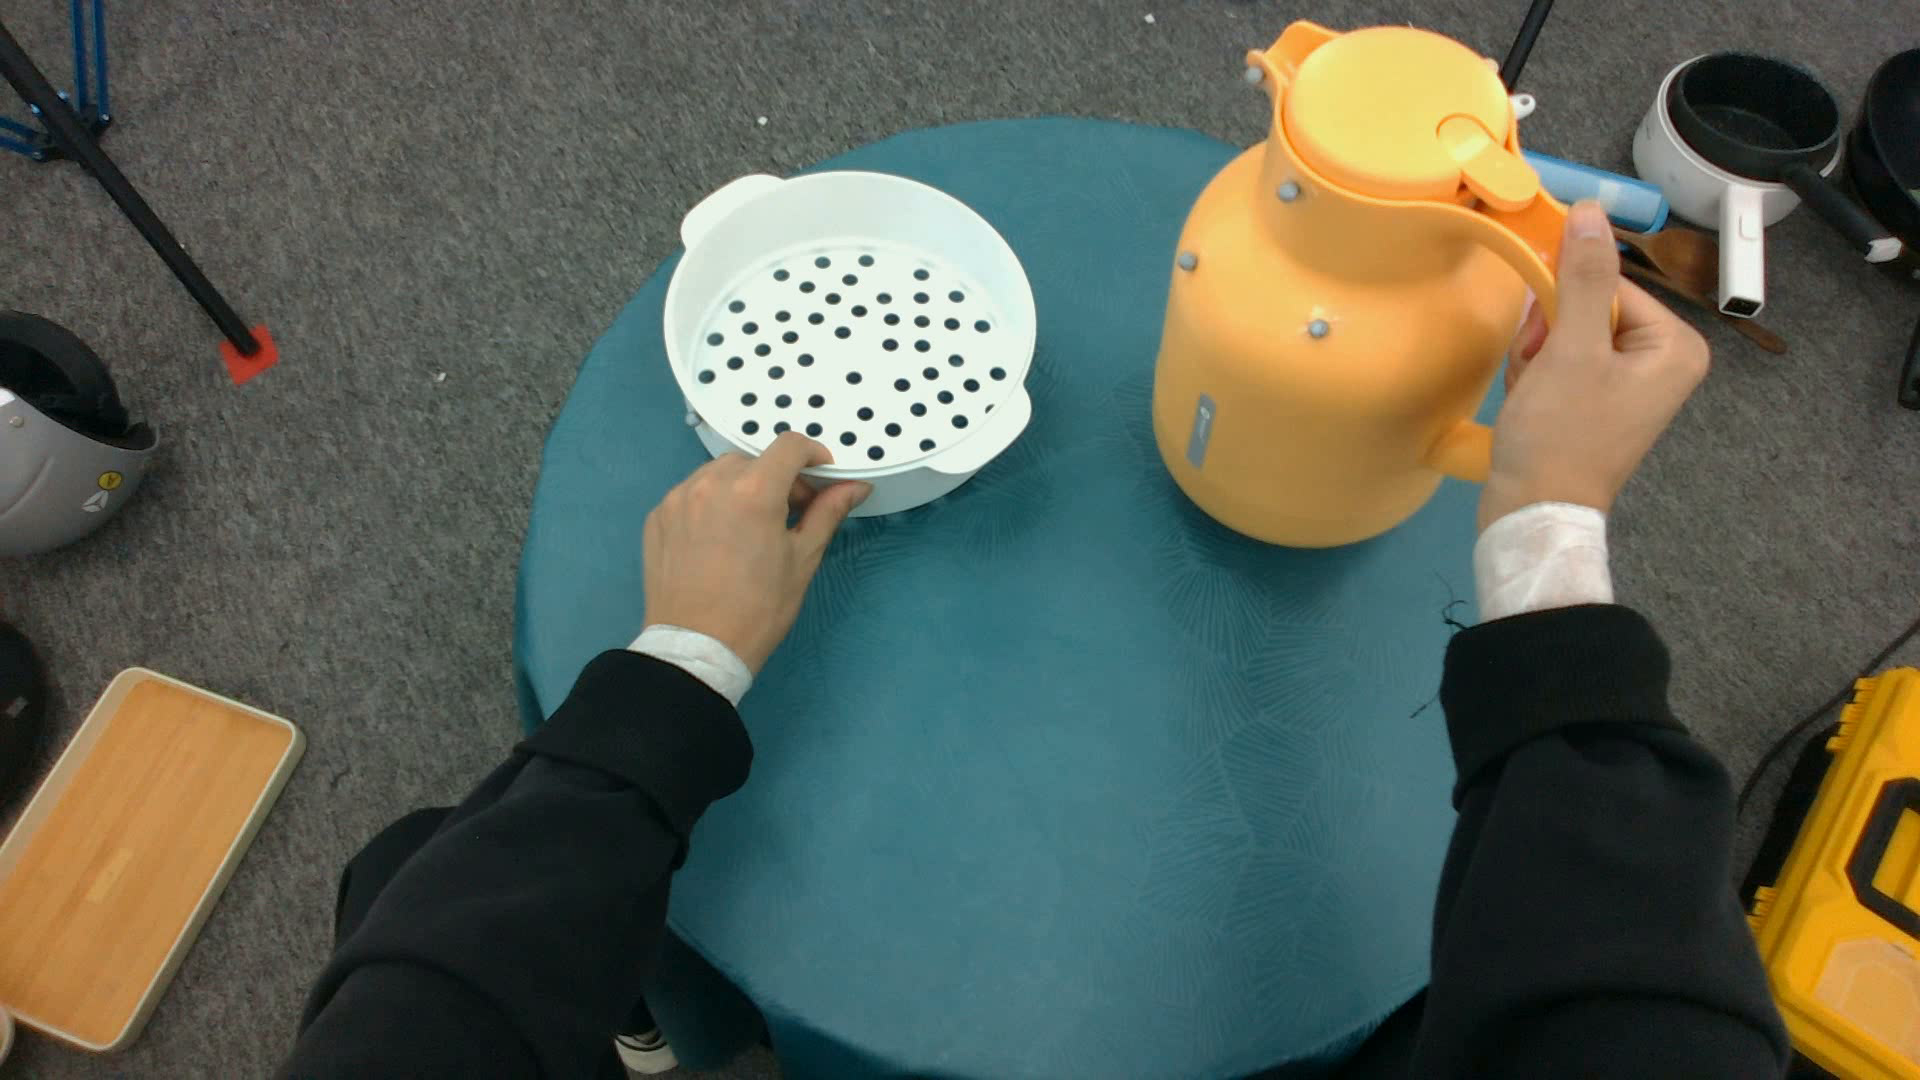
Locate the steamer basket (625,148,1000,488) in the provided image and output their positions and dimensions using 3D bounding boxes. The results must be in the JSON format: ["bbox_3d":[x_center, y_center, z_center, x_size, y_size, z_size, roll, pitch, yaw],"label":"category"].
[{"bbox_3d":[-0.079,-0.123,0.766,0.230,0.069,0.202,40,67,19],"label":"steamer basket"}]

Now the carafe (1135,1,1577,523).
[{"bbox_3d":[0.181,-0.116,0.657,0.164,0.259,0.202,-36,64,-14],"label":"carafe"}]
